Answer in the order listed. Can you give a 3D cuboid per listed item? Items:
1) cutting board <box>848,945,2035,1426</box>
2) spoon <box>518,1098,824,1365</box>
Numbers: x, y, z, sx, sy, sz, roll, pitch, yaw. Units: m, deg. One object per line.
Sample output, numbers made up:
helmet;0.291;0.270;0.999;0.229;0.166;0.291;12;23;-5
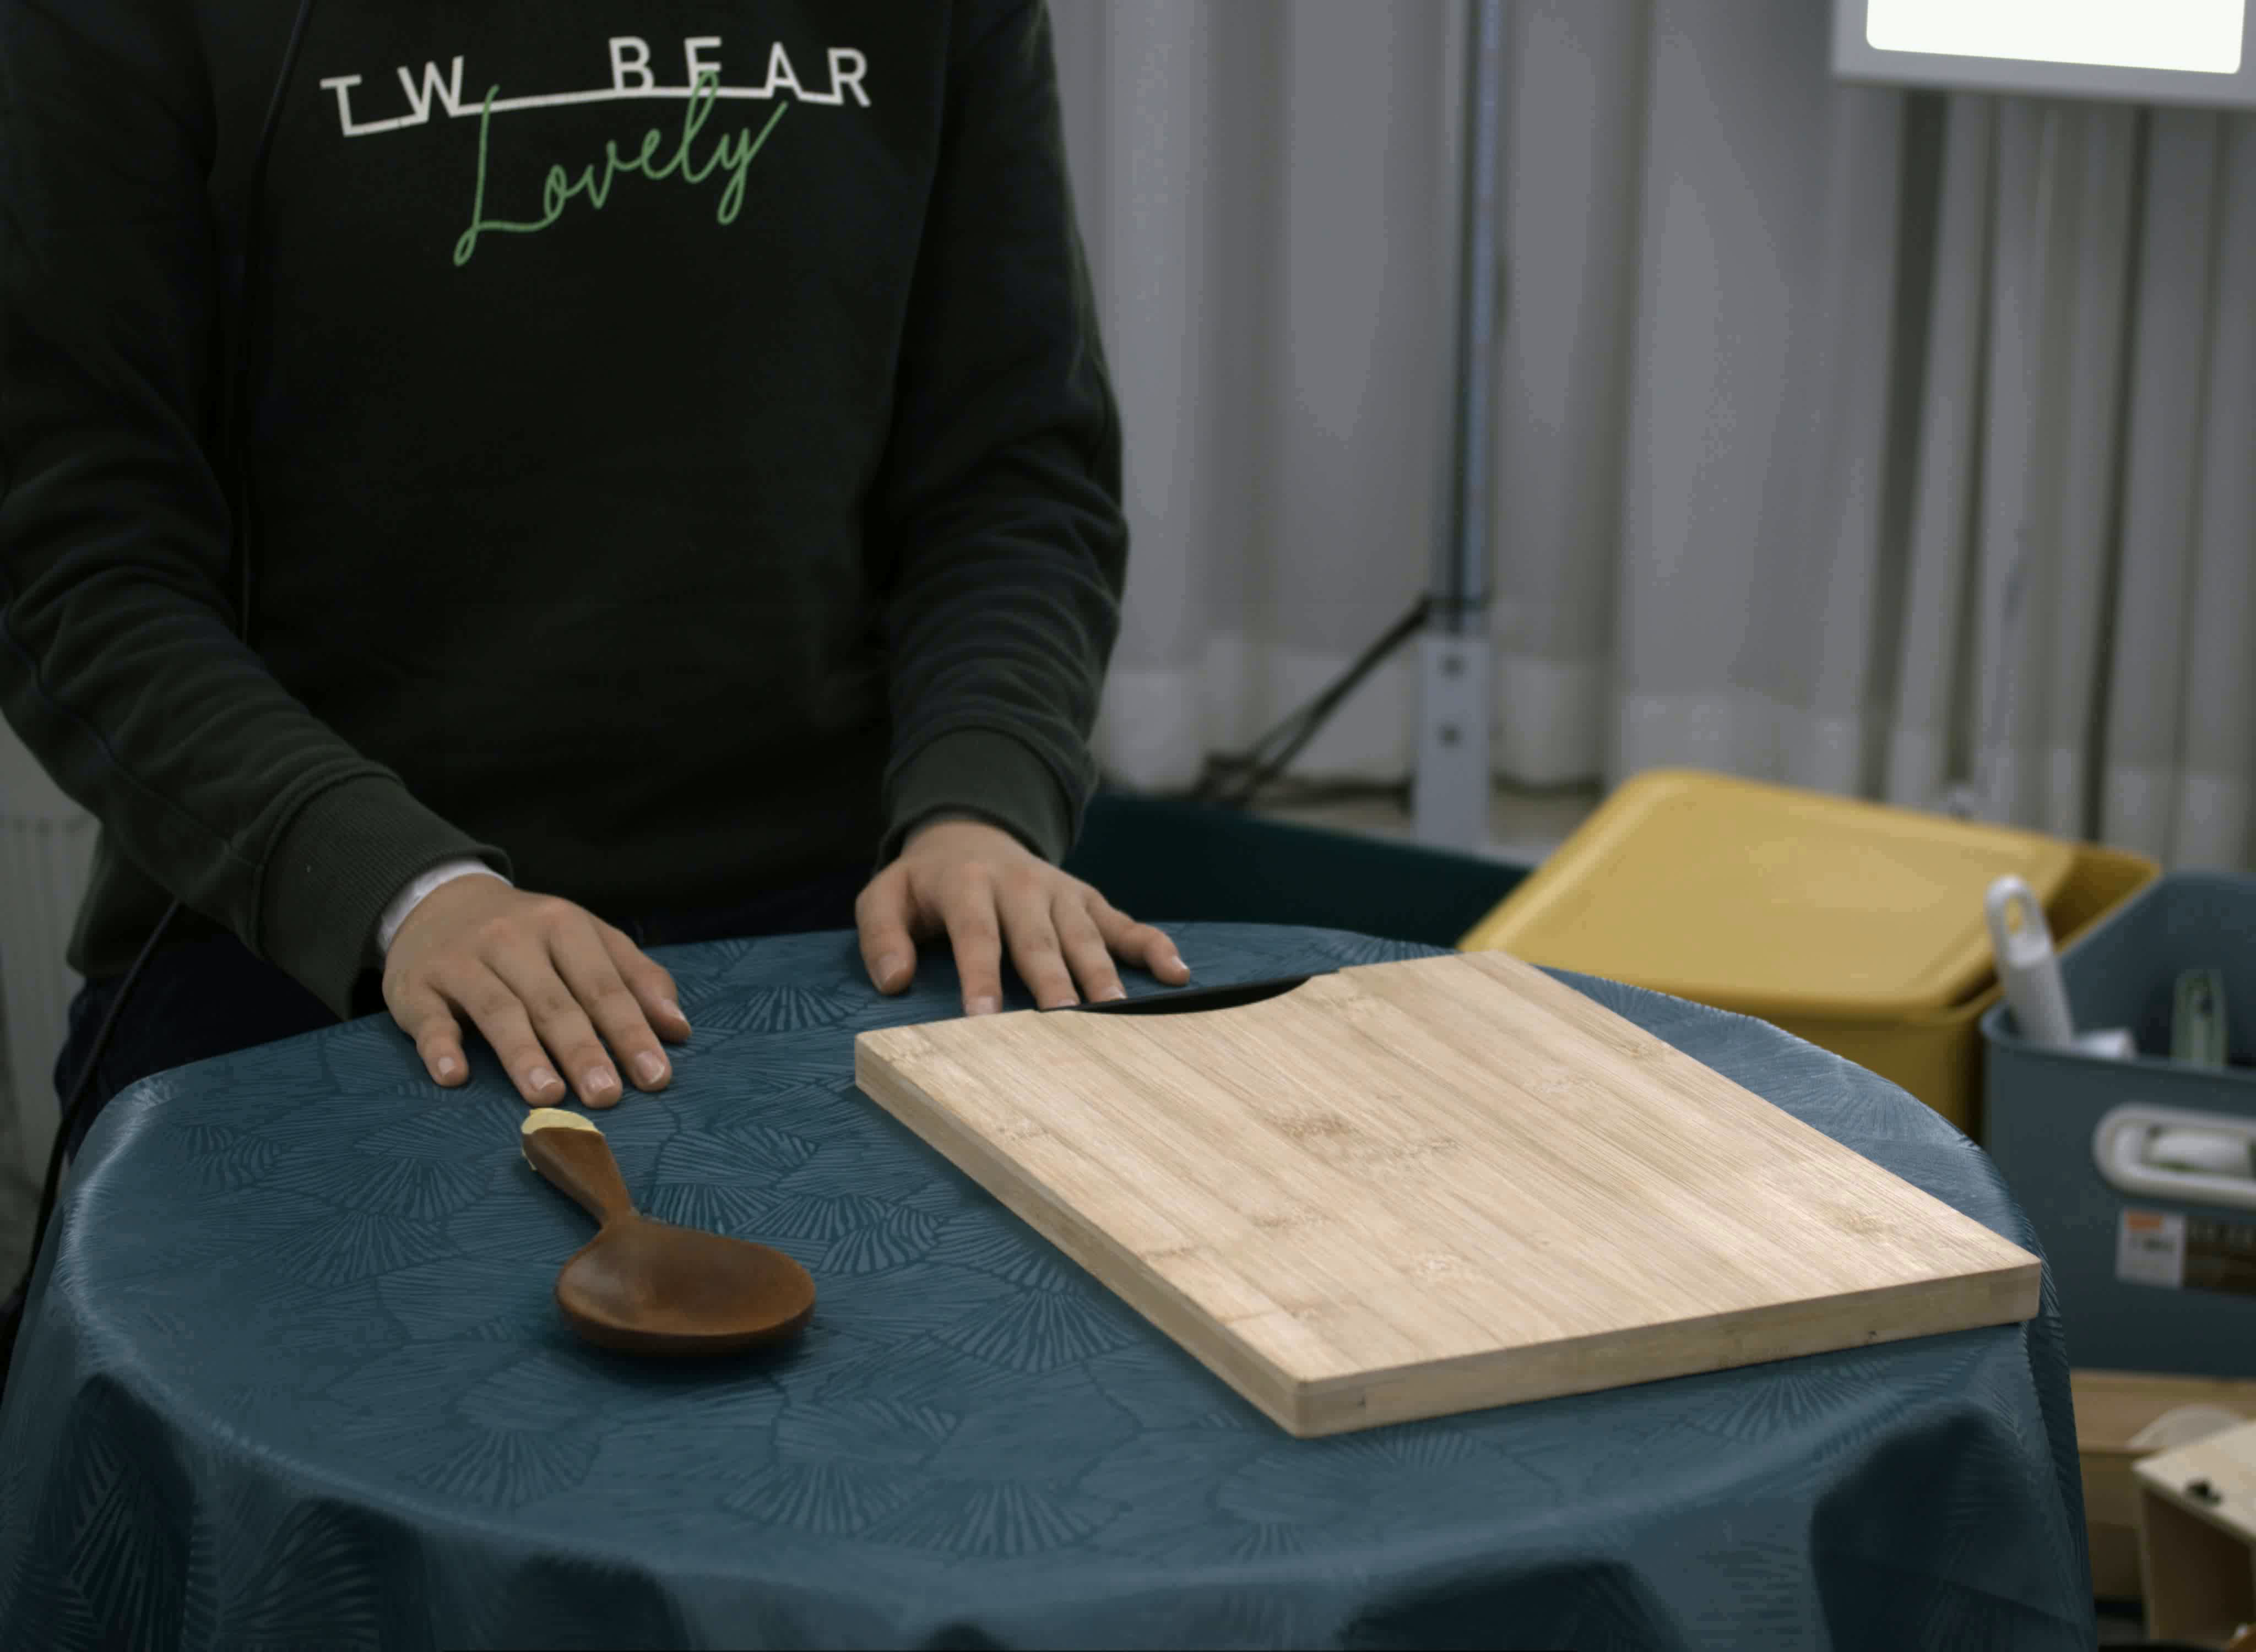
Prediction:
cutting board;0.085;0.104;1.630;0.251;0.024;0.344;-6;17;-25
spoon;-0.146;0.120;1.560;0.075;0.017;0.213;-6;18;-18
